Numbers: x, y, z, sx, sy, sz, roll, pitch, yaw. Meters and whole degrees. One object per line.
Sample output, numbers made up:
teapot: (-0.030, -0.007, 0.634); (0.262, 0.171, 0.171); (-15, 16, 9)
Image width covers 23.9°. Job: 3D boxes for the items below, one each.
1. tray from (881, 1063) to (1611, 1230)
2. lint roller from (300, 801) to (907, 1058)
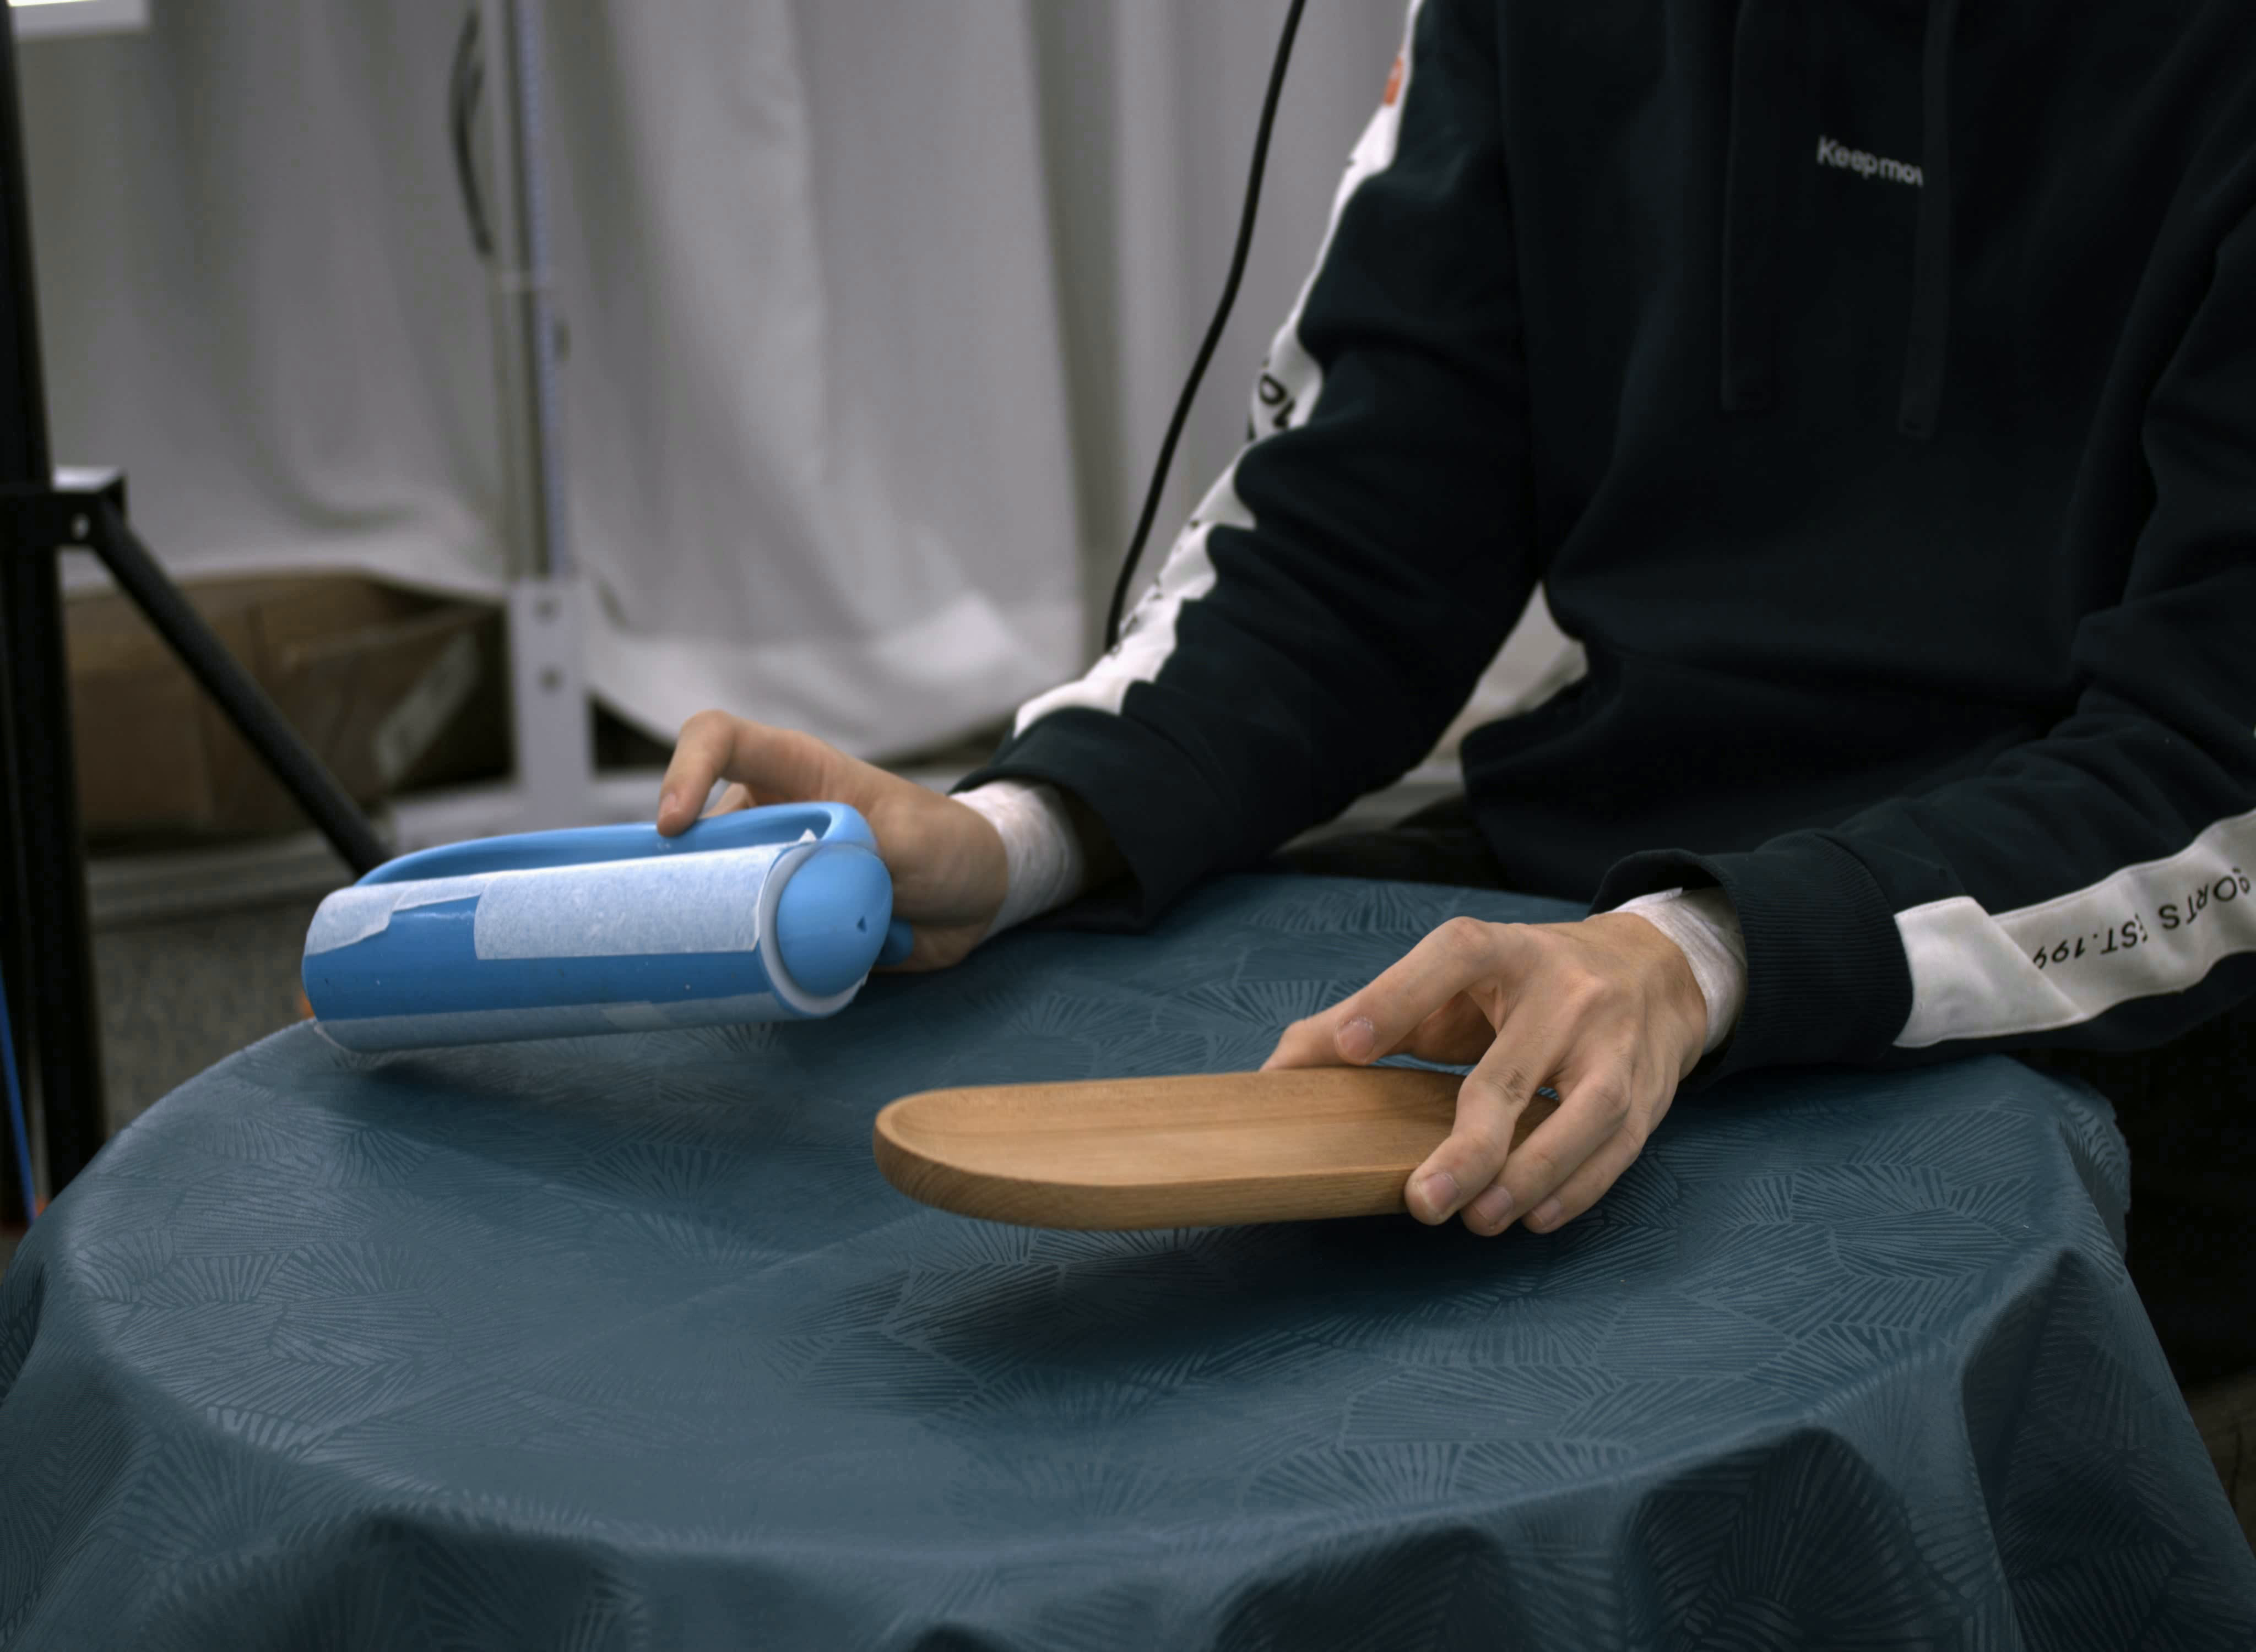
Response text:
tray: (0.035, 0.090, 1.491); (0.225, 0.020, 0.104); (1, 14, -34)
lint roller: (-0.136, 0.029, 1.696); (0.233, 0.068, 0.176); (-9, 3, 35)
